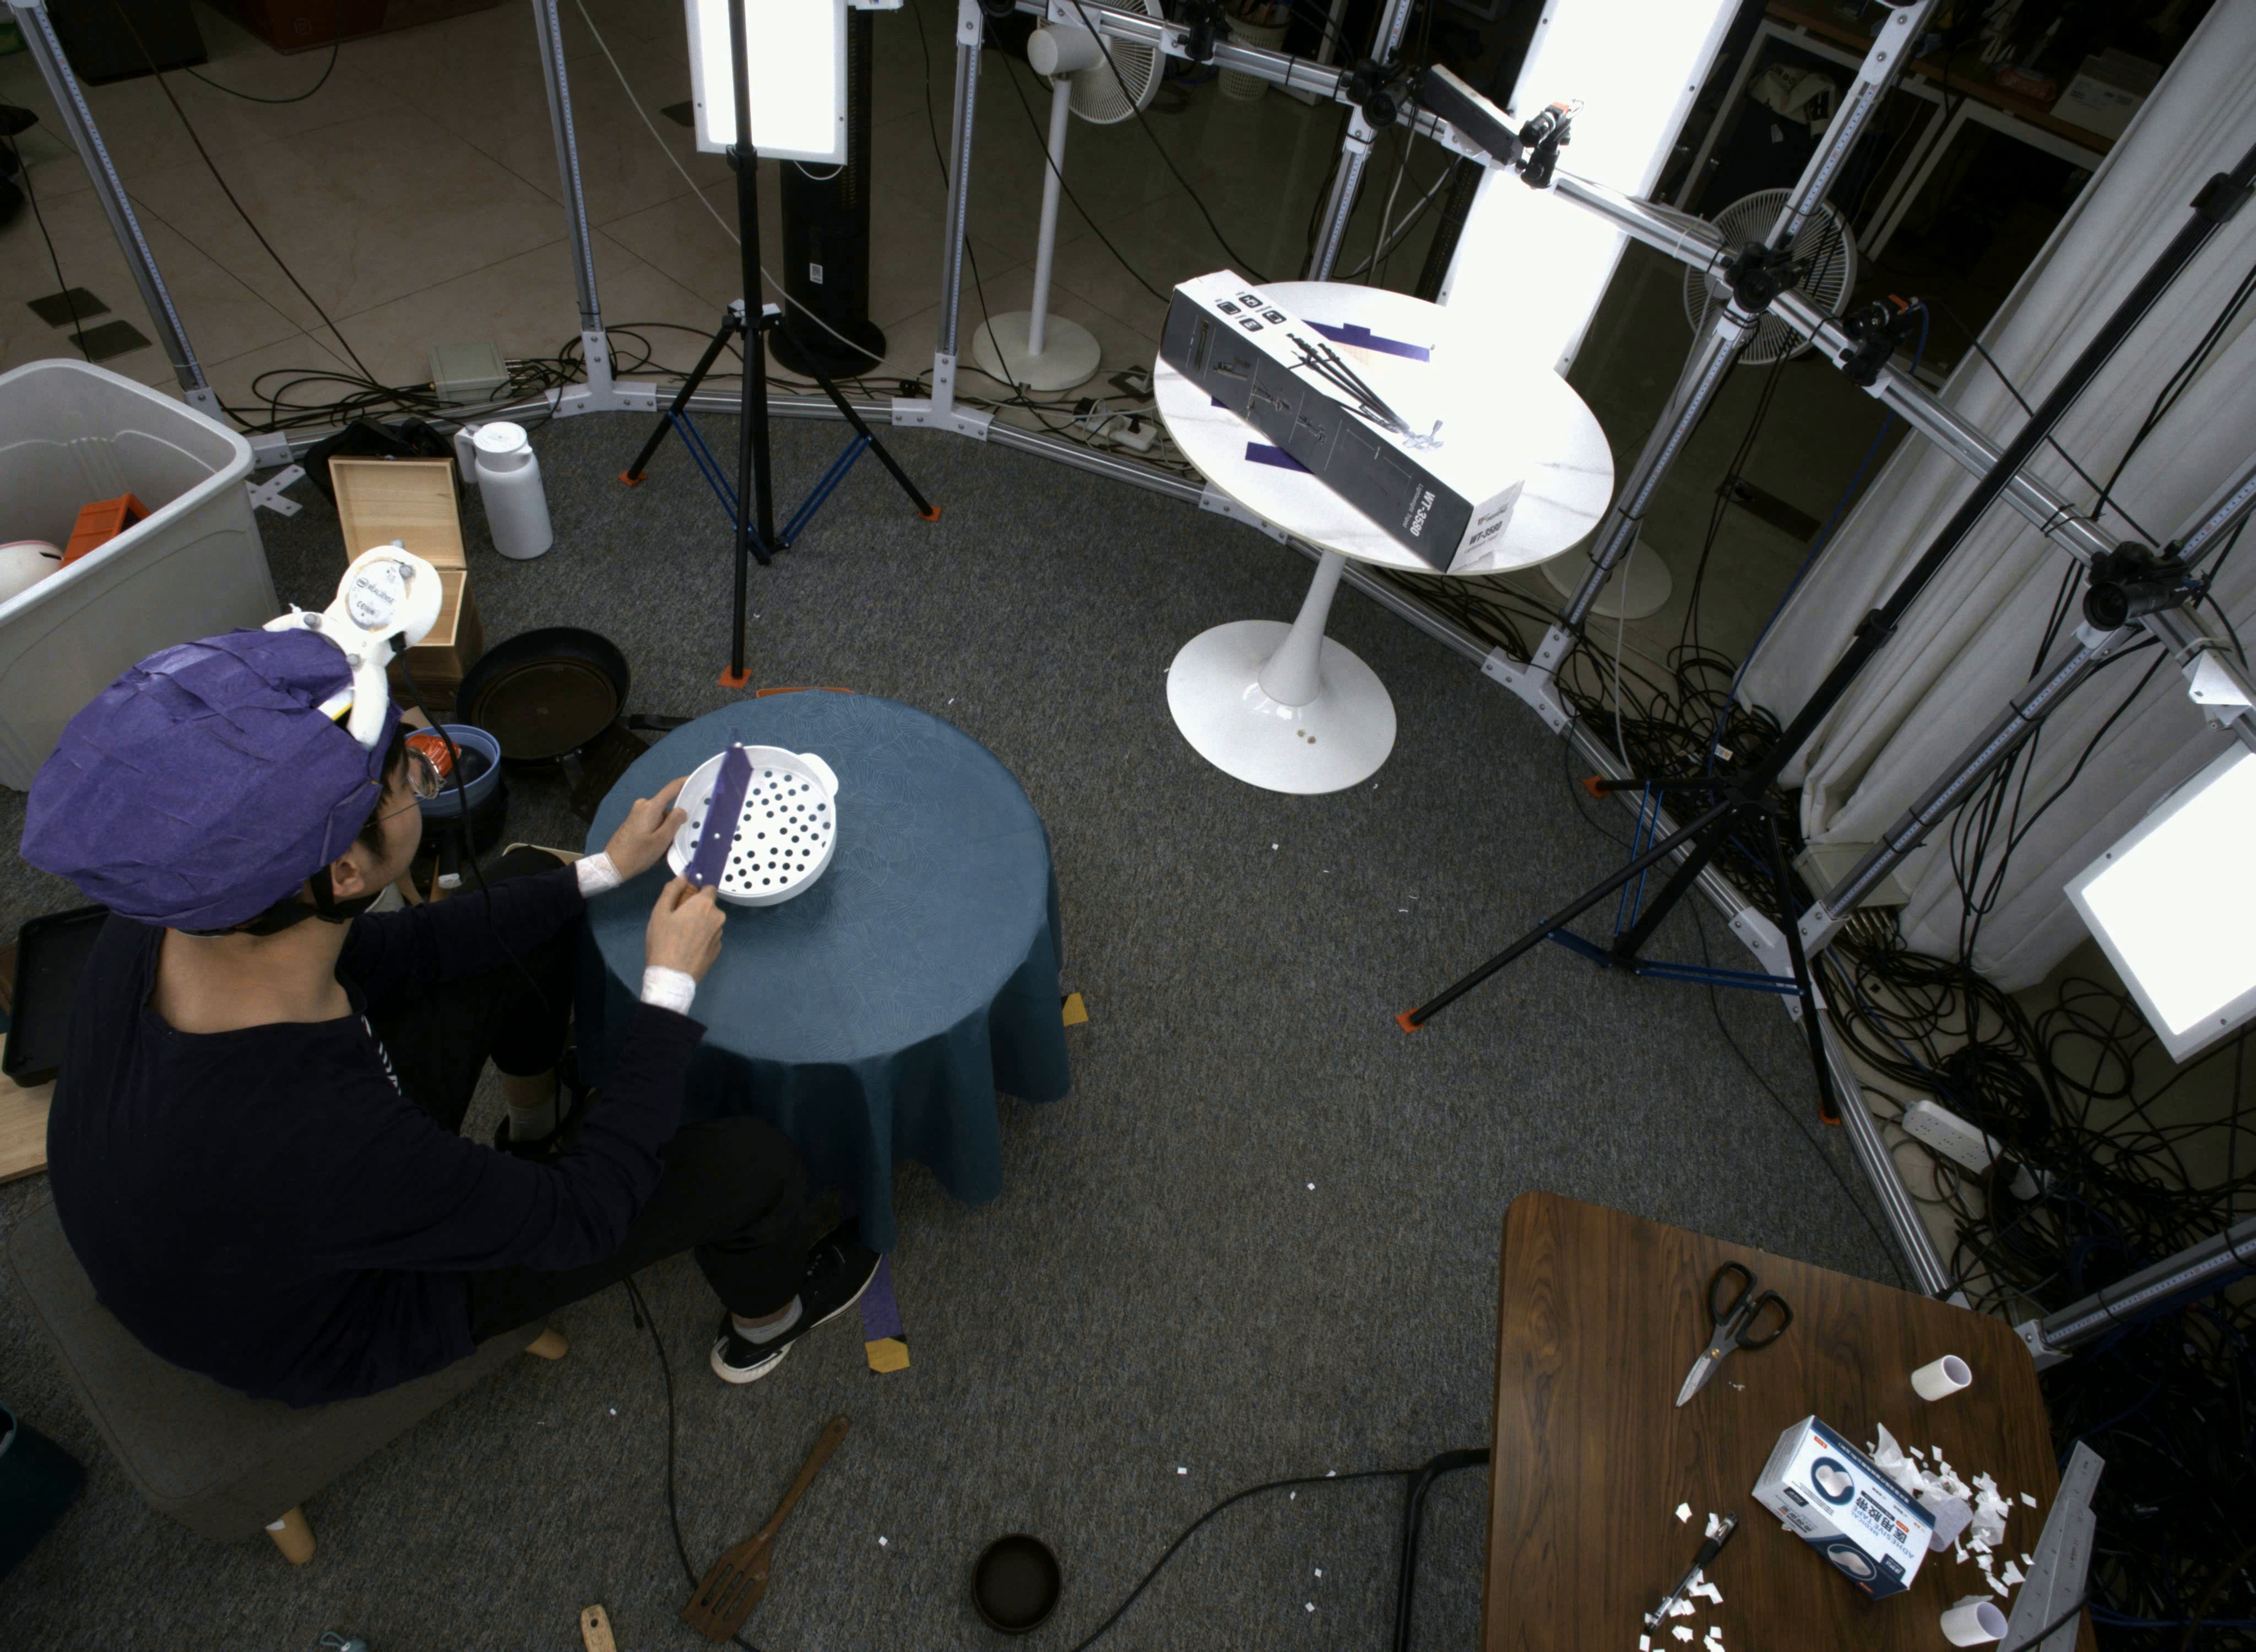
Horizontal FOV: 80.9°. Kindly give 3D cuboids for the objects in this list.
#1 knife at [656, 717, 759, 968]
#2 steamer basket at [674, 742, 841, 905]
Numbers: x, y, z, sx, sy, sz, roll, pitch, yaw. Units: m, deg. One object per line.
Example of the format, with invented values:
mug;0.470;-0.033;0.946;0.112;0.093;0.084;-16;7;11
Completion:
knife;-0.472;0.029;1.480;0.032;0.107;0.311;5;59;6
steamer basket;-0.463;-0.002;1.638;0.230;0.070;0.199;-39;80;-14
